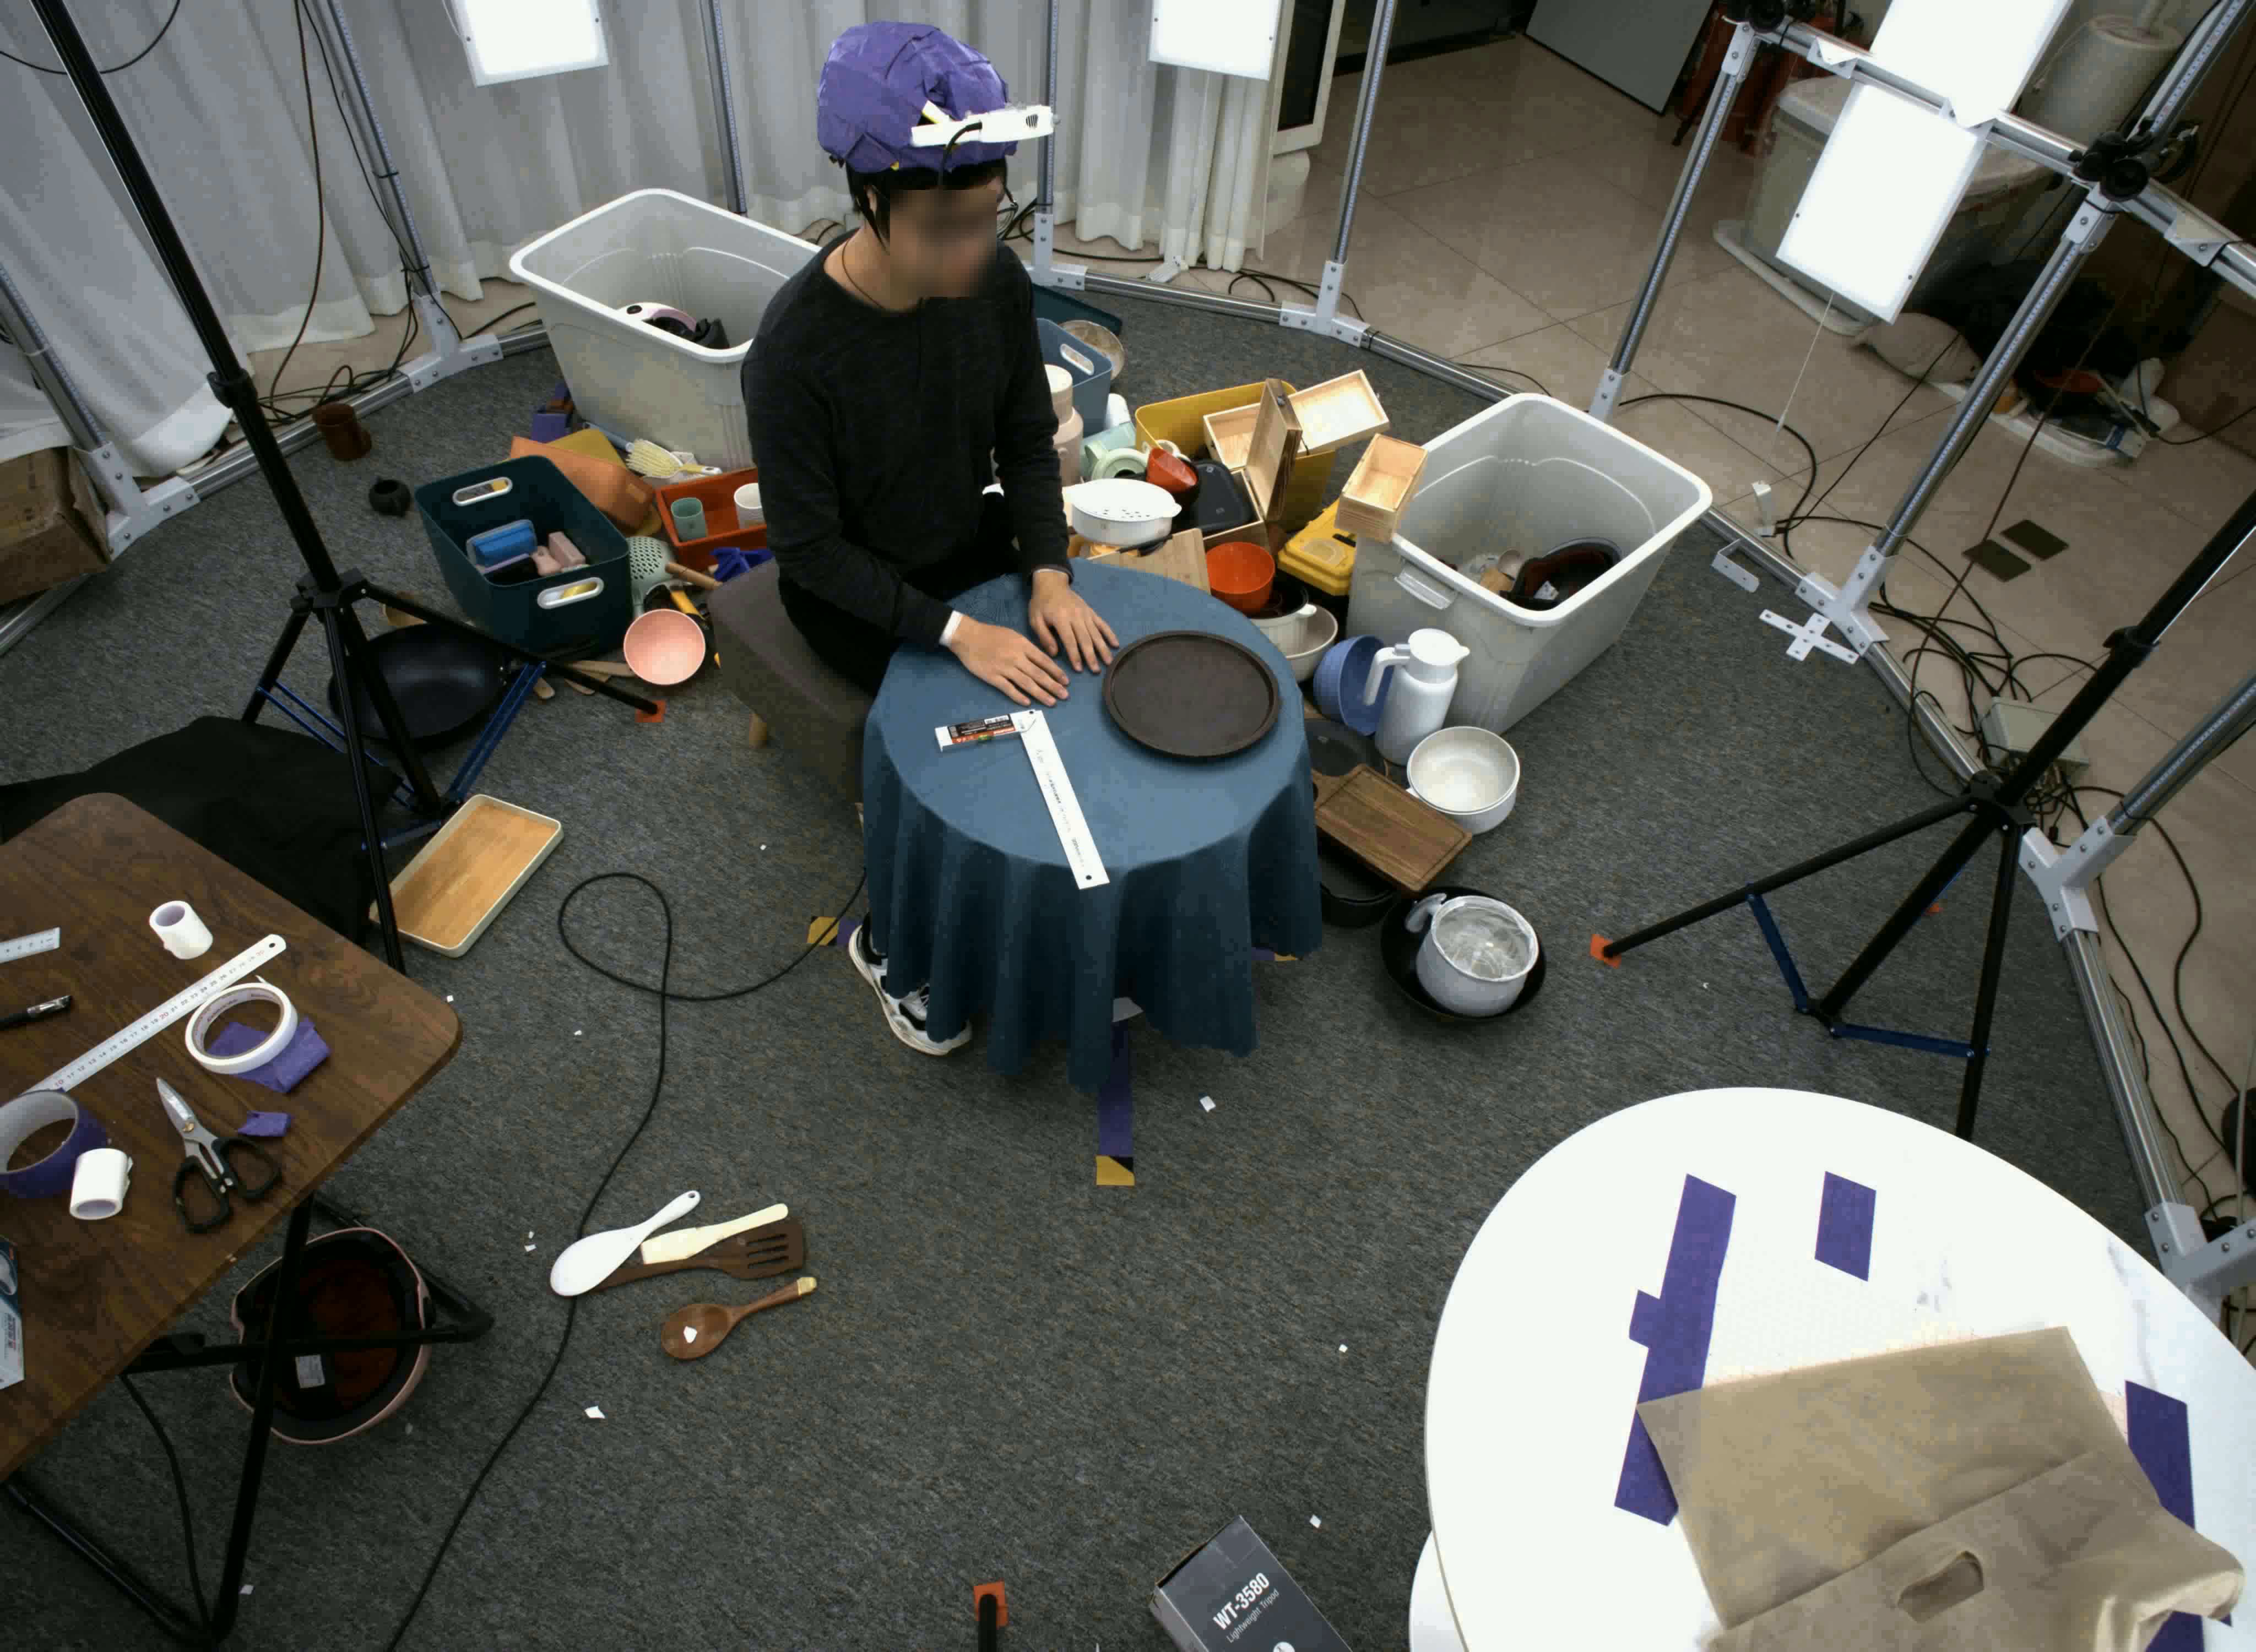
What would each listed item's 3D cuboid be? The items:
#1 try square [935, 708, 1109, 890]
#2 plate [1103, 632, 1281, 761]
[{"bbox_3d":[-0.143,-0.031,1.683,0.152,0.015,0.320,-12,52,-13],"label":"try square"},{"bbox_3d":[0.090,-0.186,1.822,0.254,0.028,0.261,2,50,-2],"label":"plate"}]
